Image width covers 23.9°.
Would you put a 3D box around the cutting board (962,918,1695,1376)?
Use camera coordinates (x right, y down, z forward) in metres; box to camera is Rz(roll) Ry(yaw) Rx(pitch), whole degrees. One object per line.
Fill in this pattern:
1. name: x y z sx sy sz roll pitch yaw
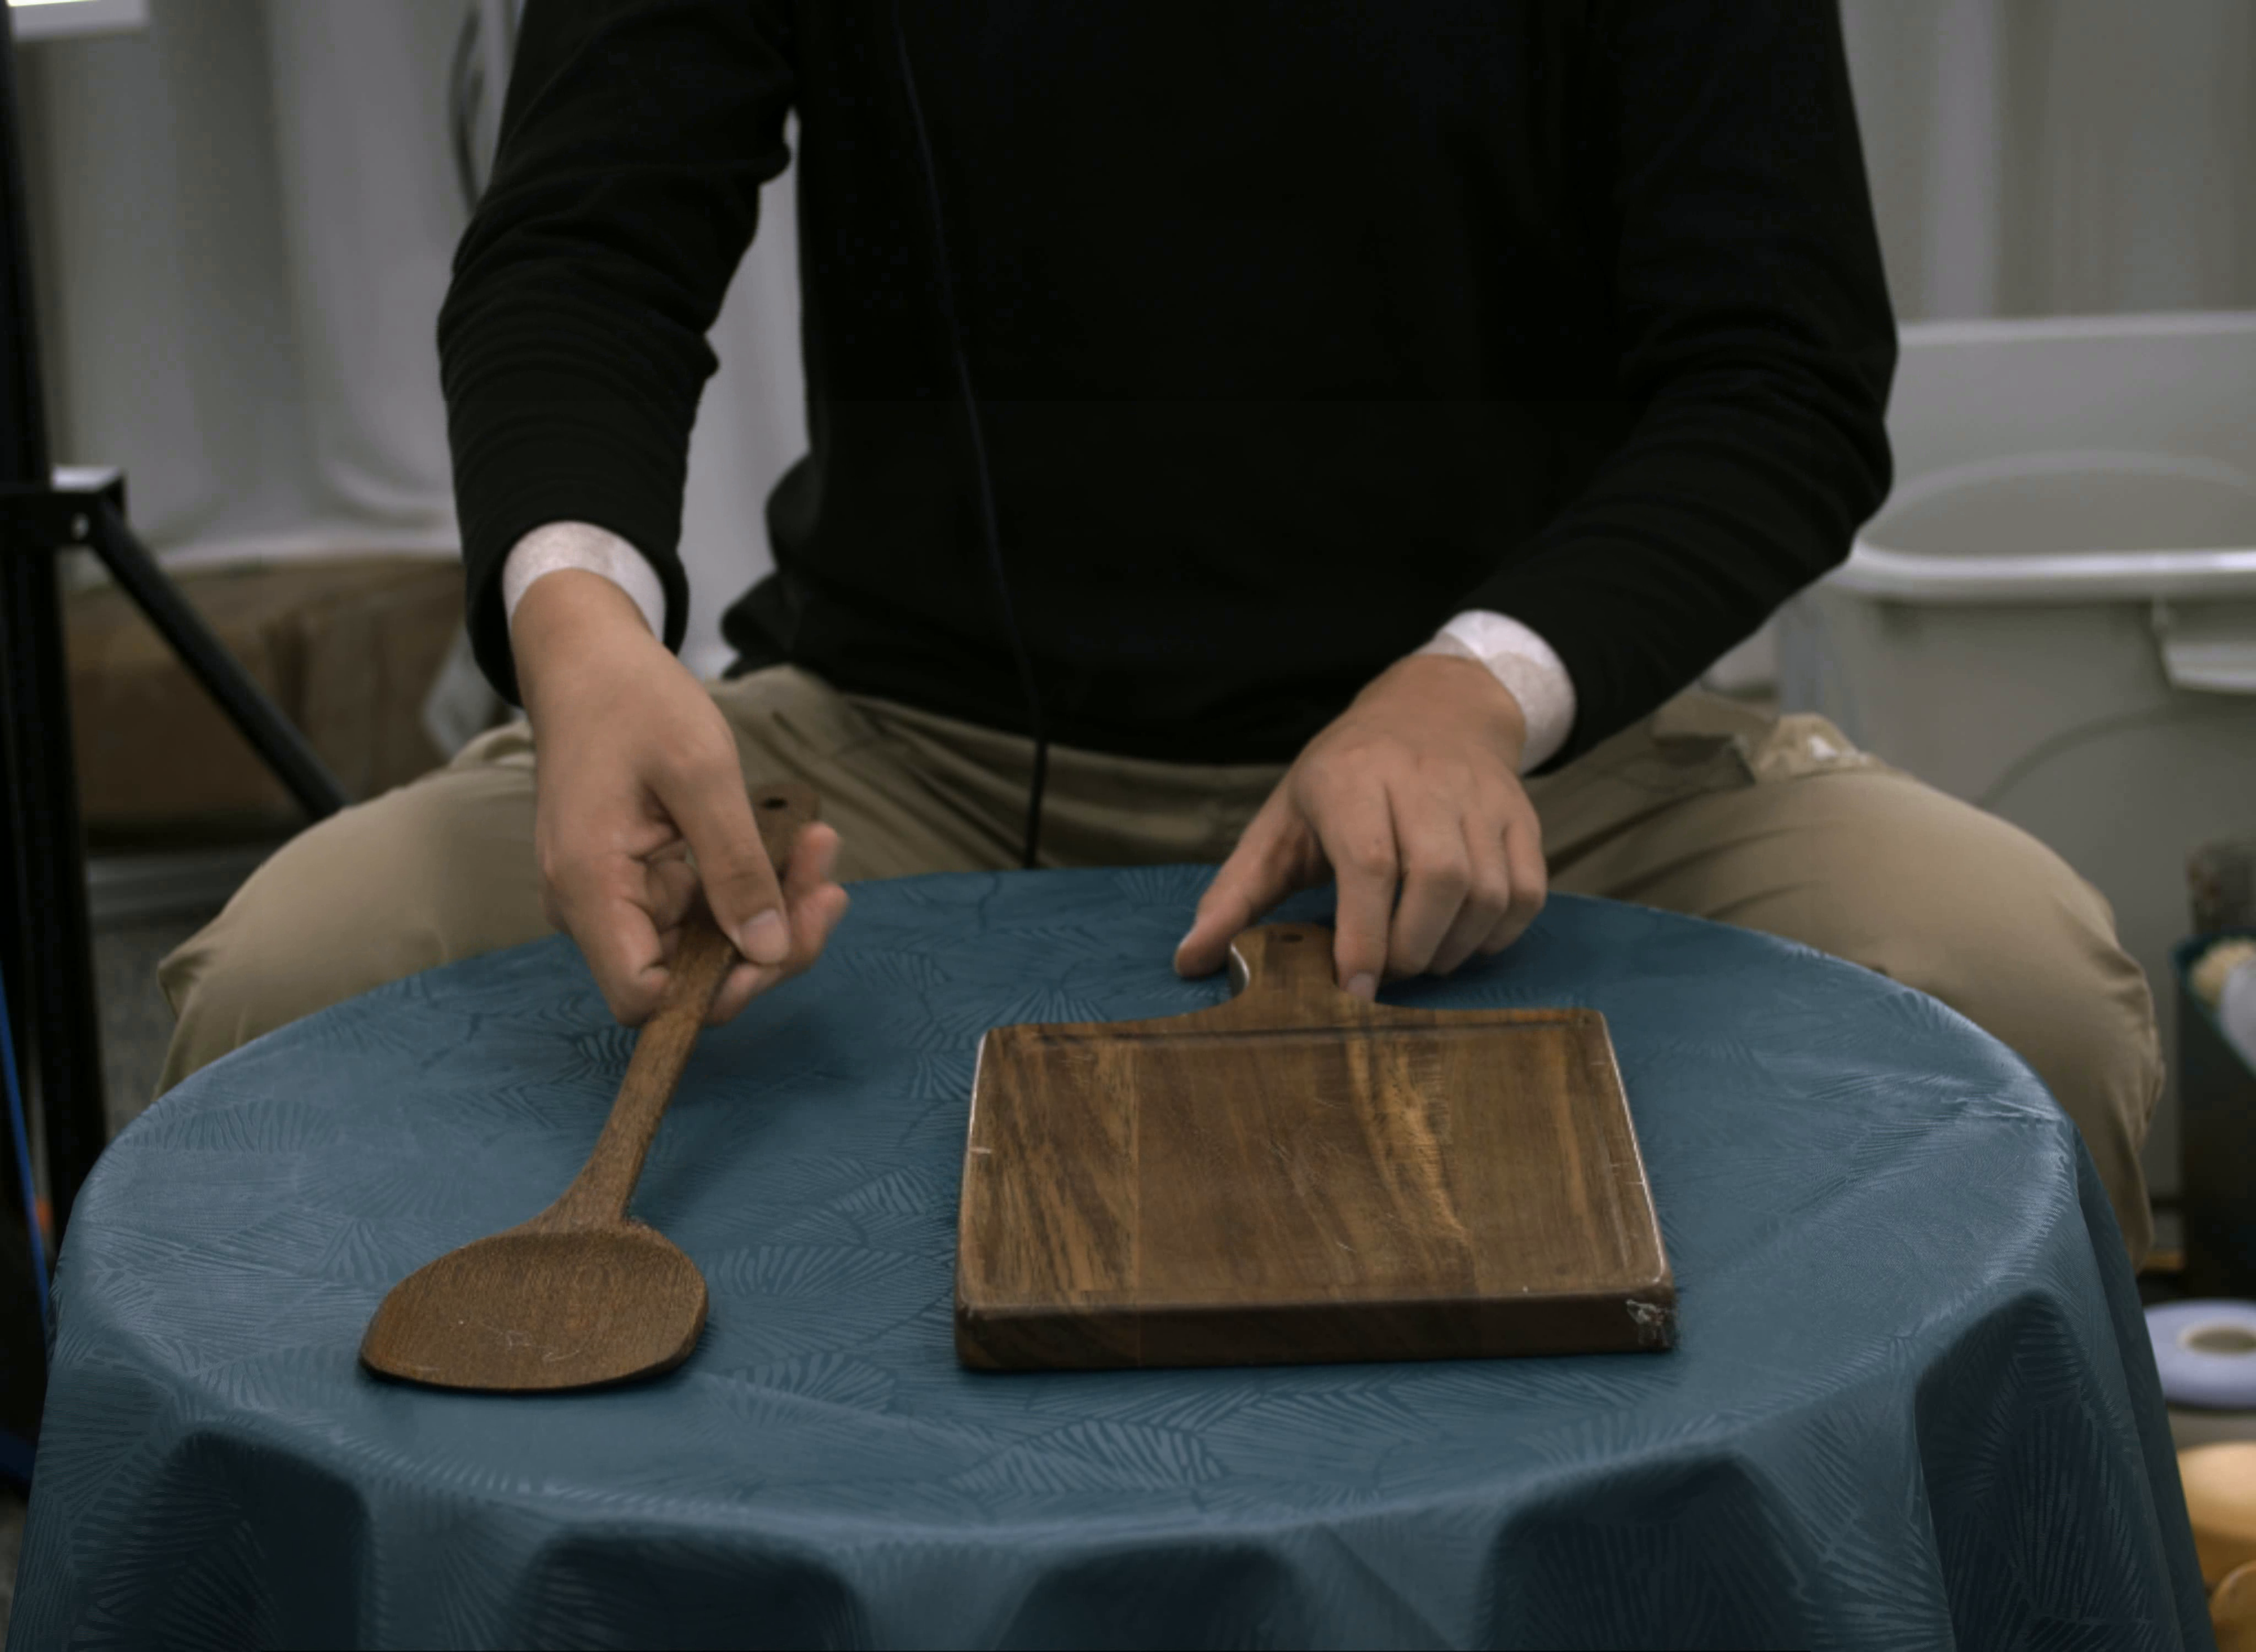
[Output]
1. cutting board: 0.052 0.088 1.581 0.200 0.023 0.353 -2 16 1

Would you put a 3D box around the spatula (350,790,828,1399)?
1. spatula: -0.139 0.071 1.598 0.096 0.016 0.386 -1 26 10
